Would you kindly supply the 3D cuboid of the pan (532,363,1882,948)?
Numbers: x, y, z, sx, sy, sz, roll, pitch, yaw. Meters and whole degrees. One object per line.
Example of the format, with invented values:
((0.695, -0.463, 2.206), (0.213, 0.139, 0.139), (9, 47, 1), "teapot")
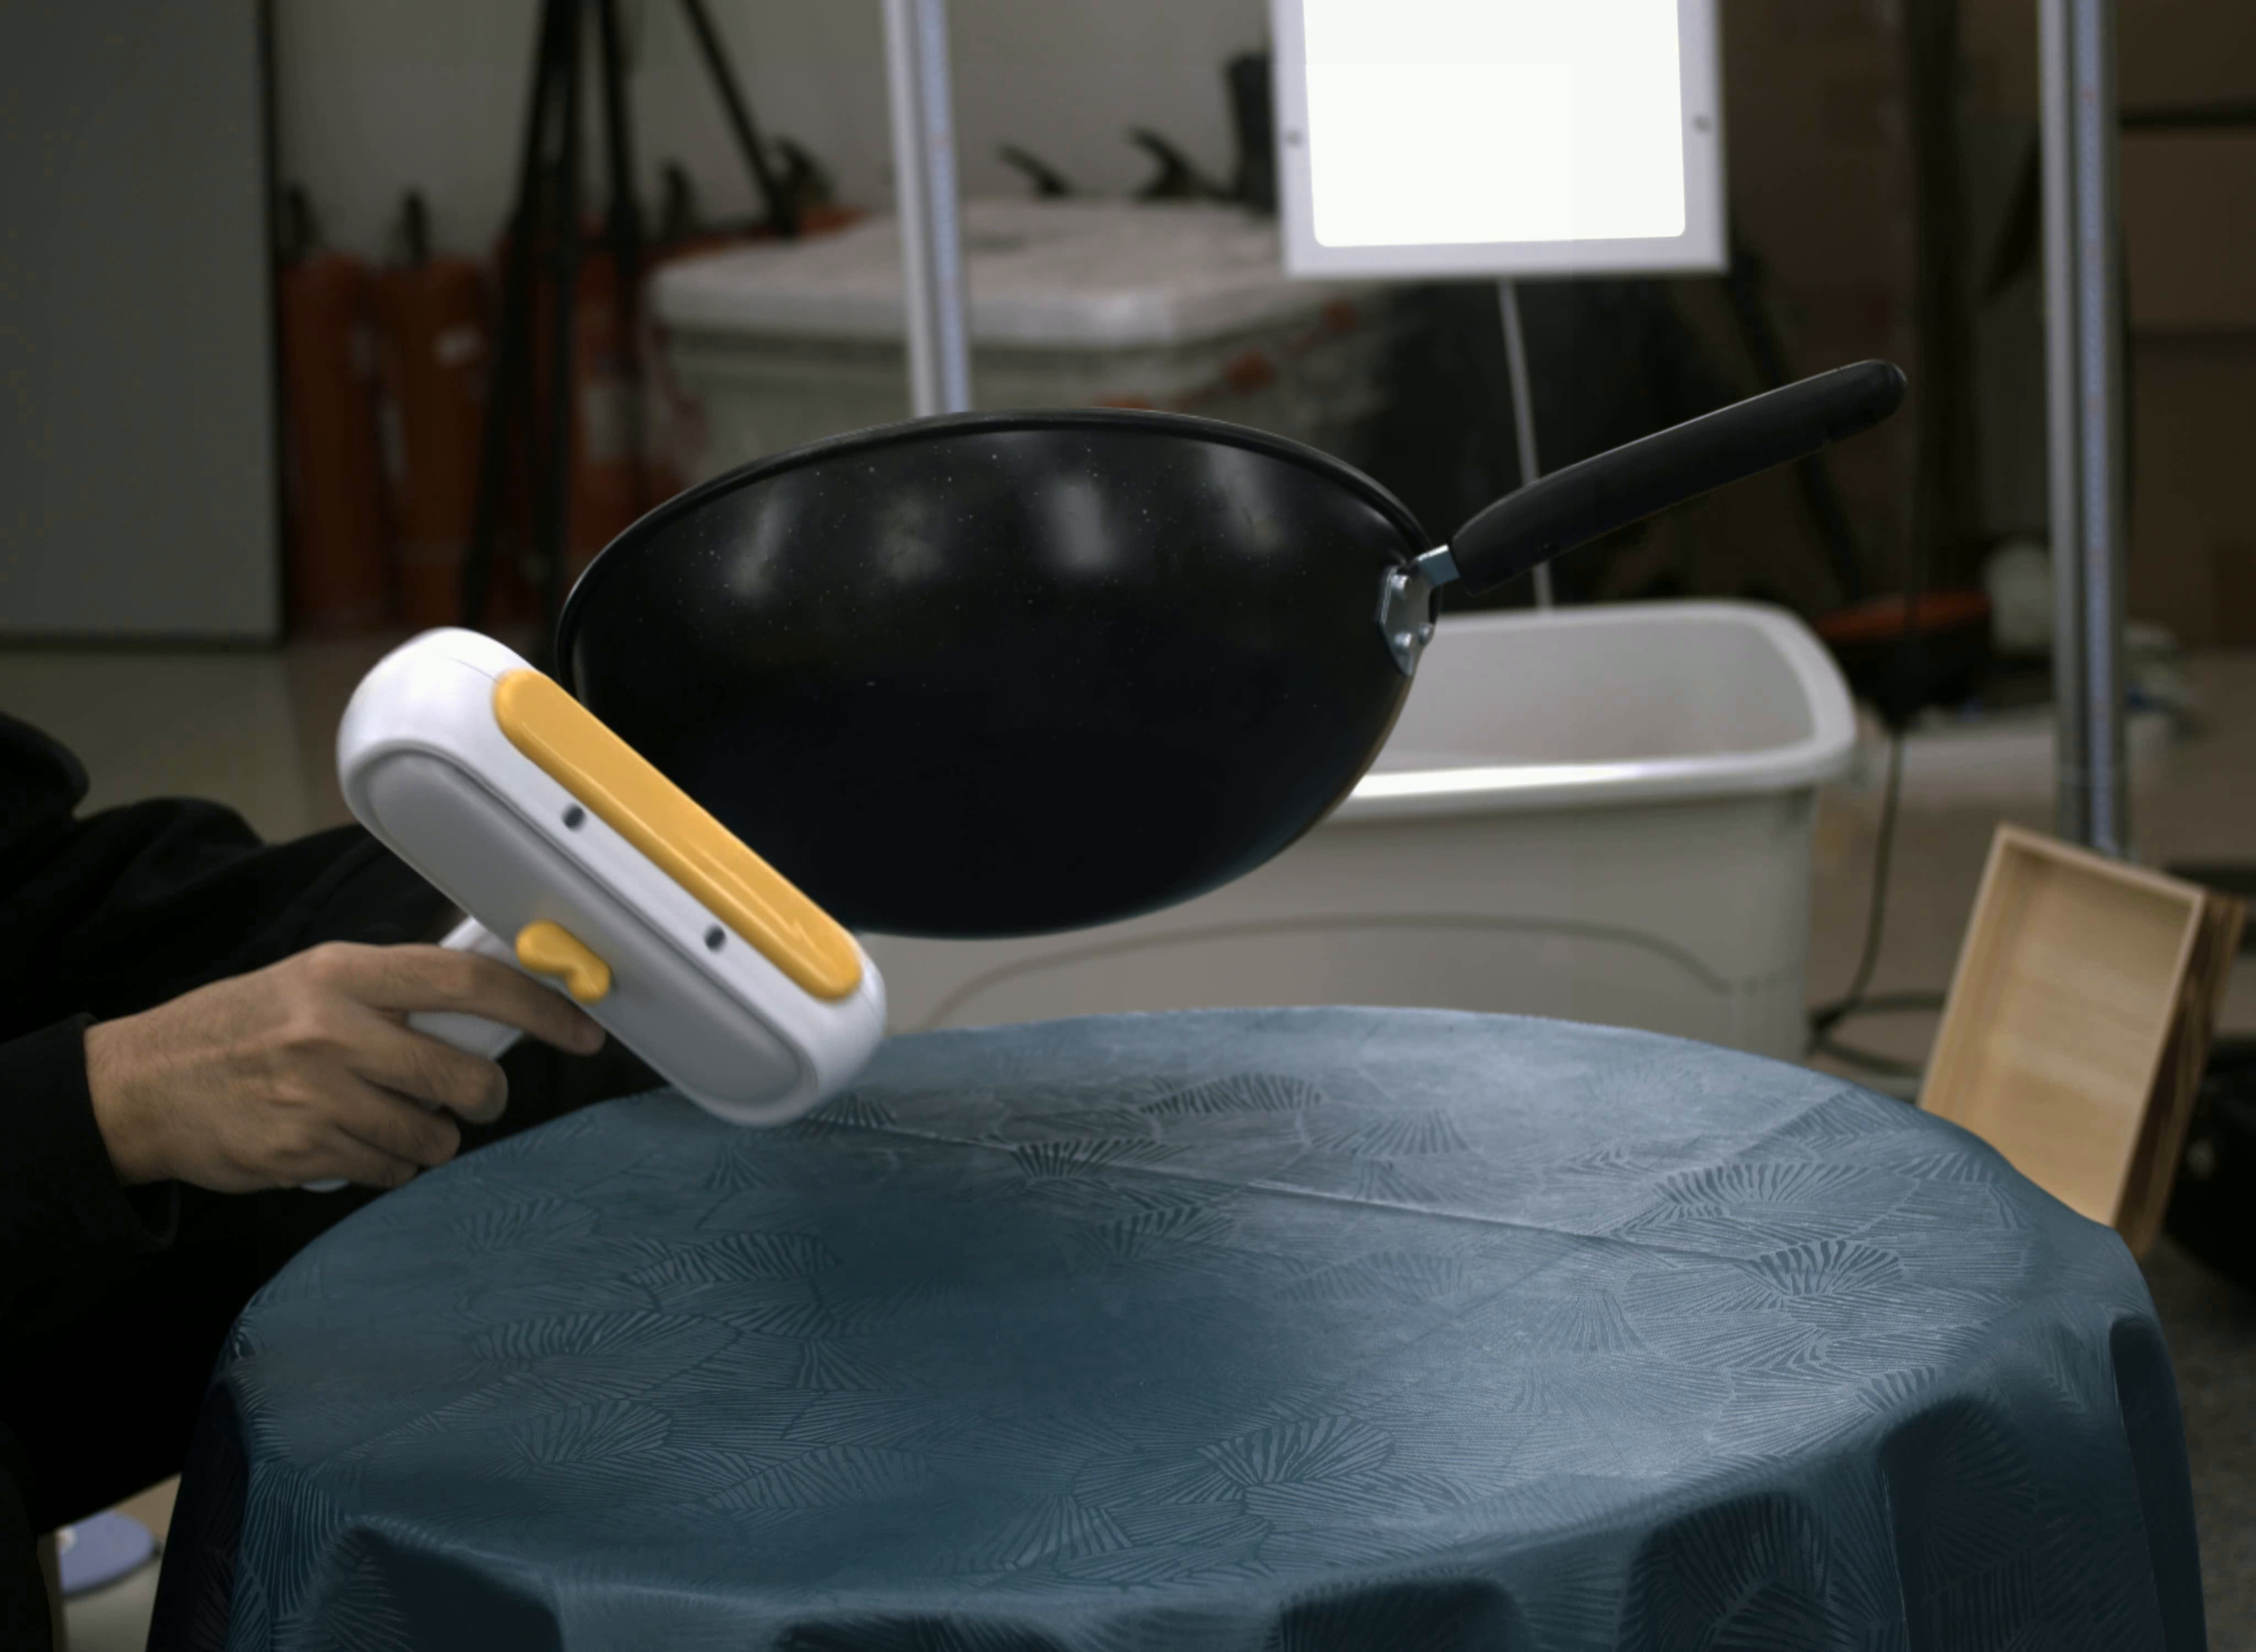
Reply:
((0.031, -0.056, 1.876), (0.481, 0.112, 0.307), (-11, -24, 13), "pan")

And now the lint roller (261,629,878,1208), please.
((-0.197, 0.050, 1.687), (0.196, 0.191, 0.073), (-38, 24, 38), "lint roller")
